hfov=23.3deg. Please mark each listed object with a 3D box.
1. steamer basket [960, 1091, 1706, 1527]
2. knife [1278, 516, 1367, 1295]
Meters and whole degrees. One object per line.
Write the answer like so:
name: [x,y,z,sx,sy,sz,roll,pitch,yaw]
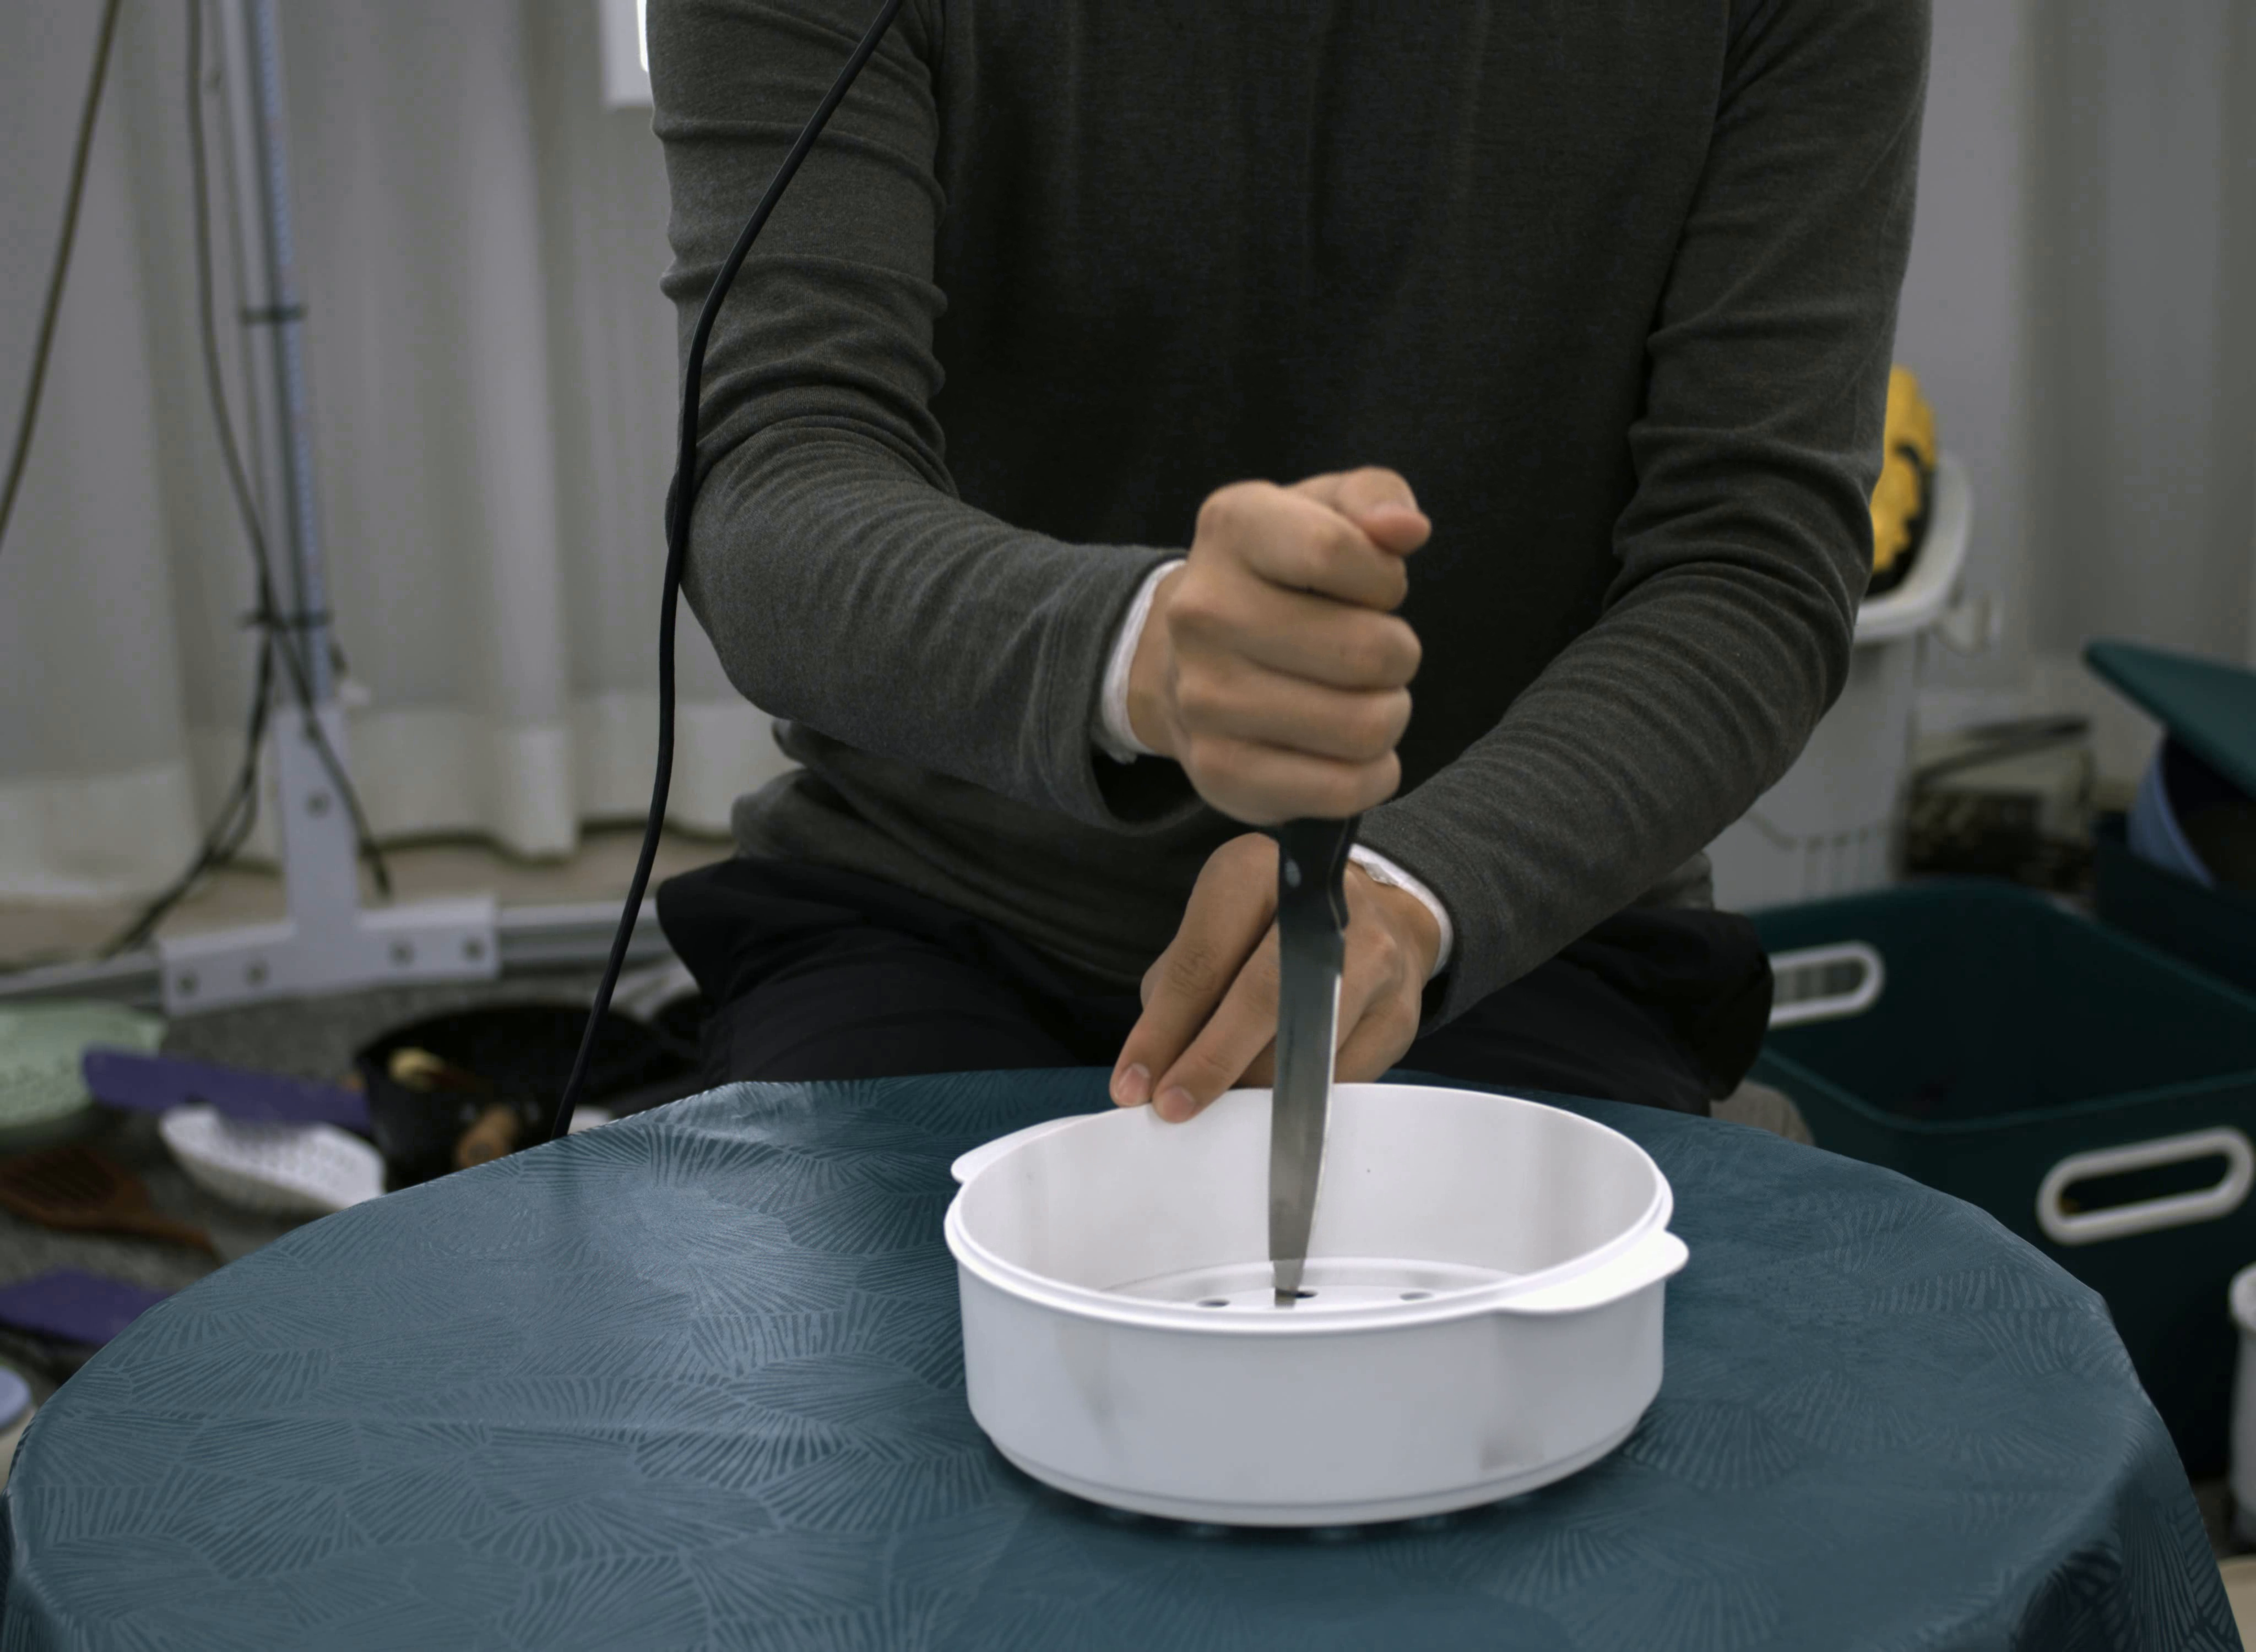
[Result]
steamer basket: [0.055,0.132,1.508,0.231,0.069,0.201,9,18,41]
knife: [0.049,0.029,1.478,0.016,0.237,0.024,-11,23,-35]
